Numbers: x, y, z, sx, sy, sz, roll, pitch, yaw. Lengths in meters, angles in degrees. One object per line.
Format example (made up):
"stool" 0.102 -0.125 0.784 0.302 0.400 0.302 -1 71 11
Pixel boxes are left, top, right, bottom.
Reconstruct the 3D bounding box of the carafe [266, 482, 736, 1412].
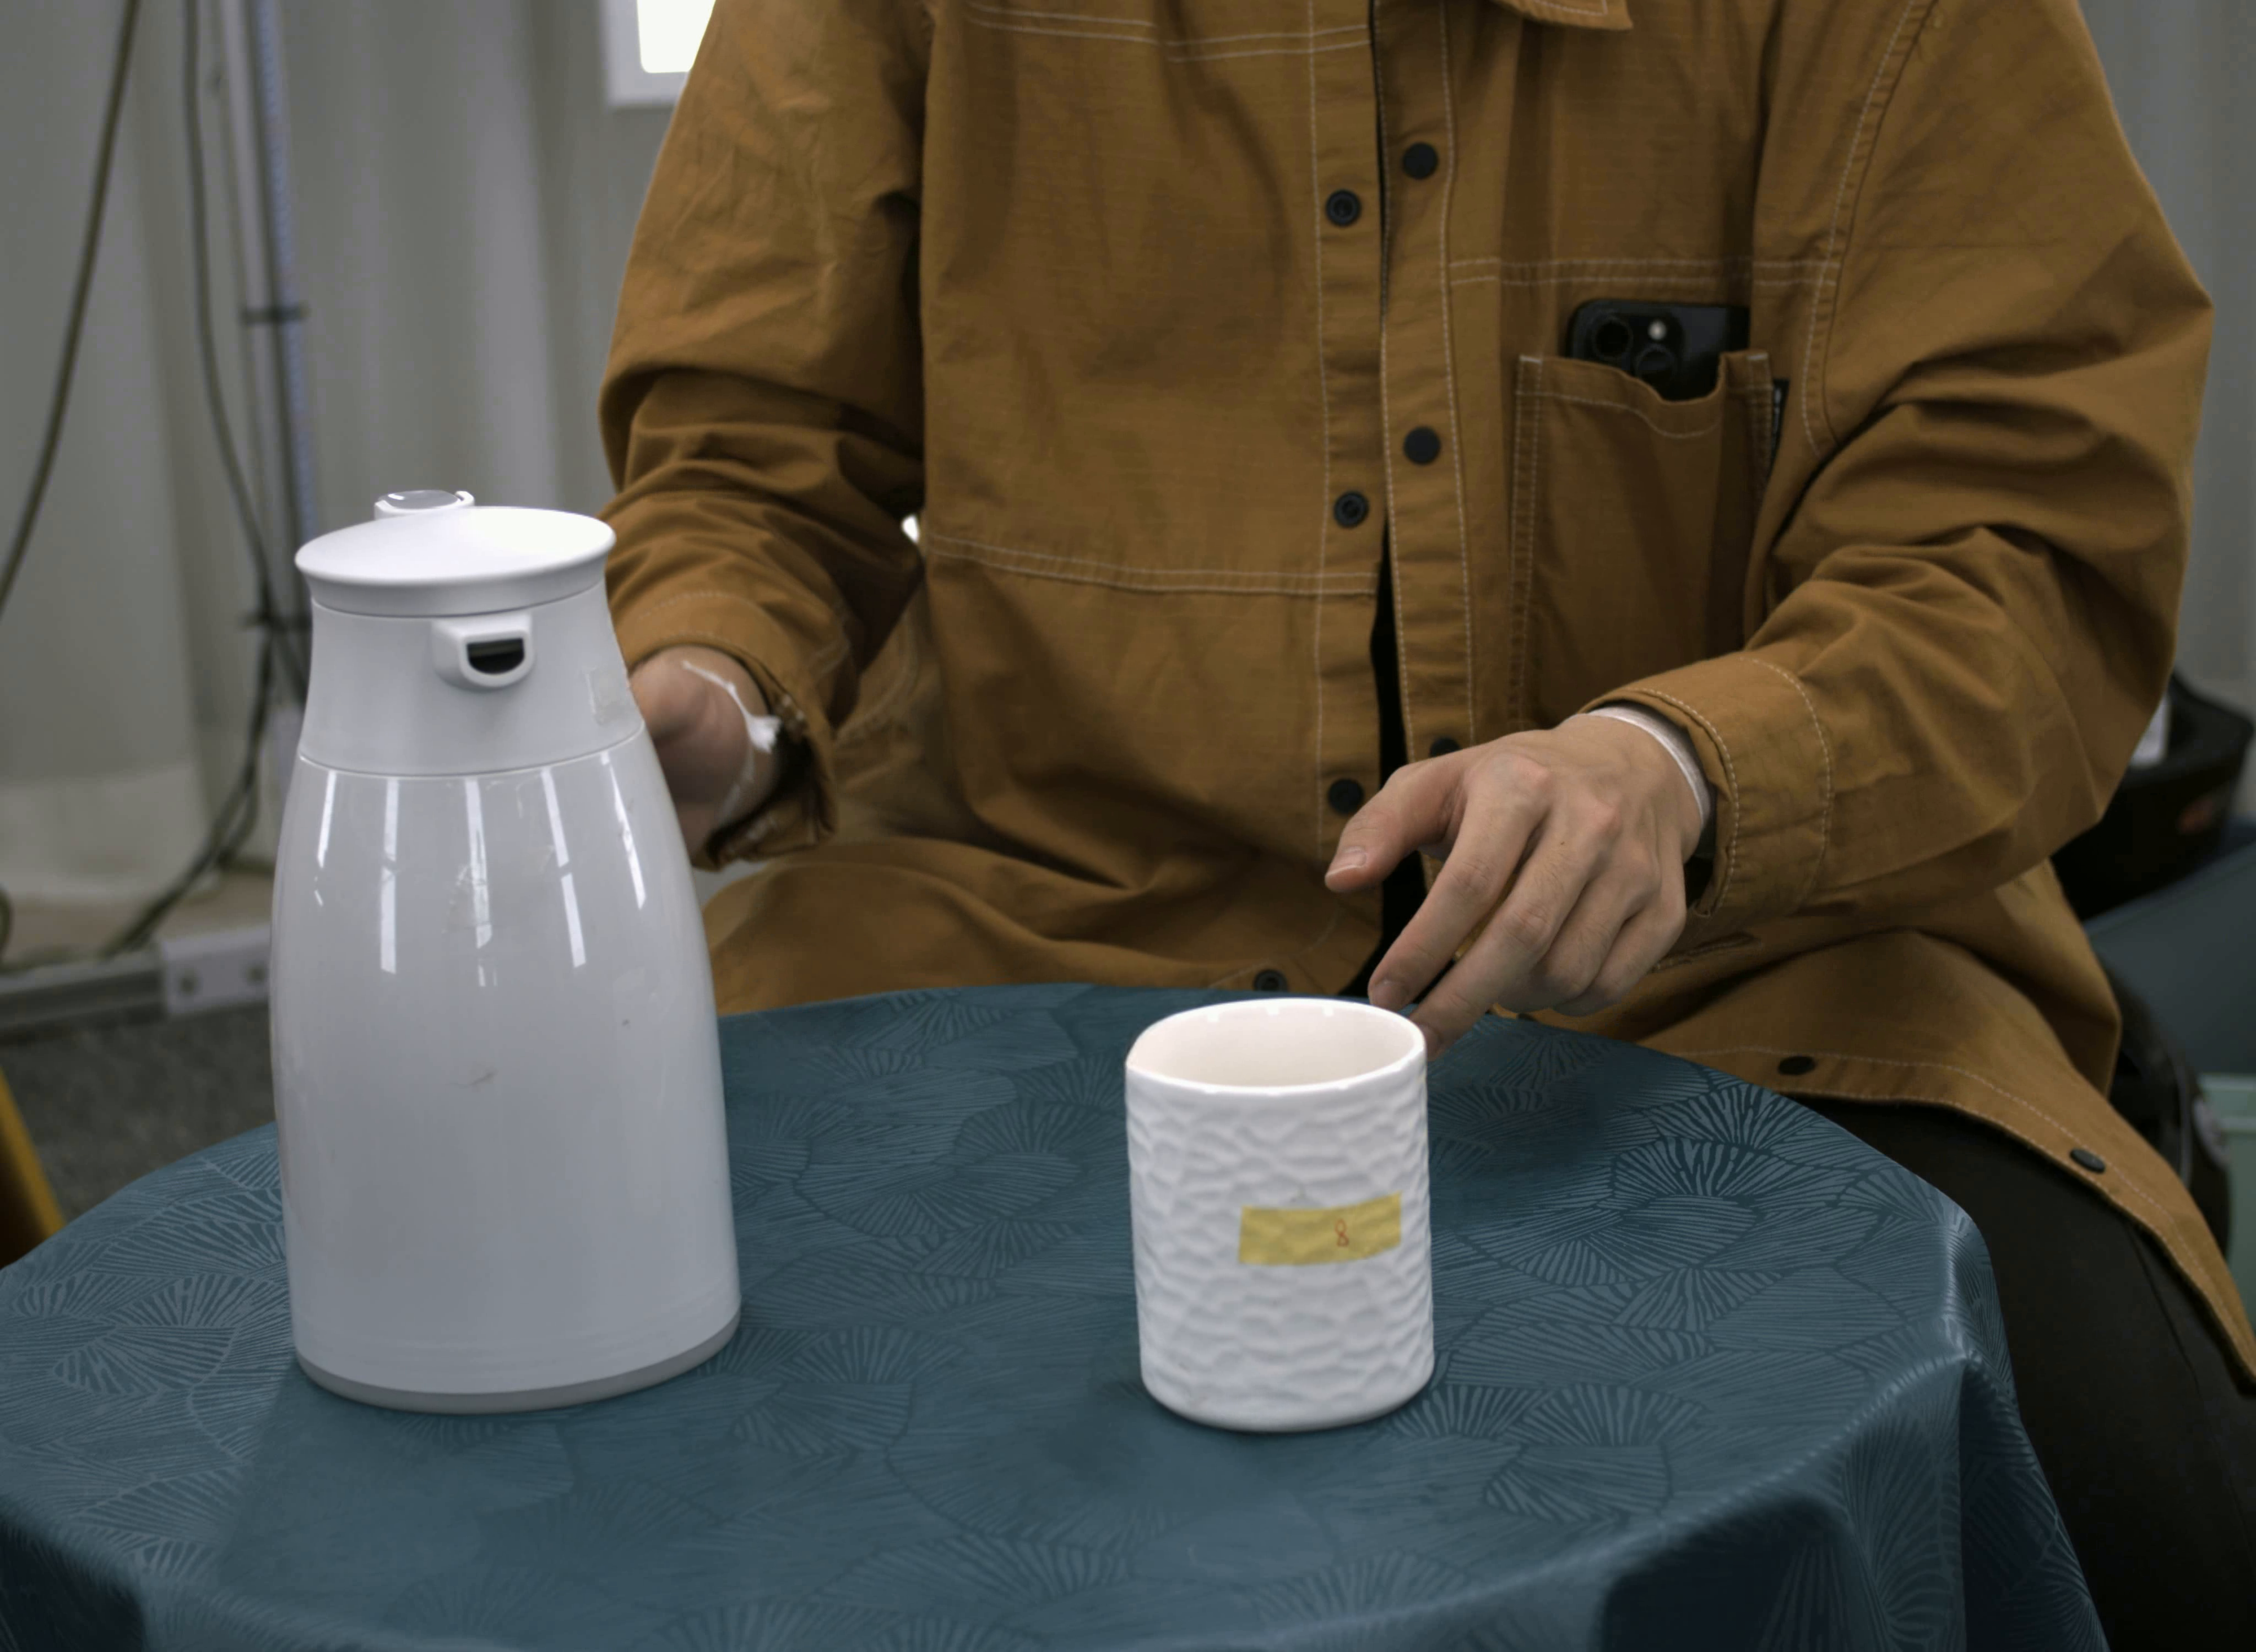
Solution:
"carafe" -0.193 0.027 1.603 0.132 0.248 0.169 -7 14 -16

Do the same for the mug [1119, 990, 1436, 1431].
"mug" 0.044 0.103 1.544 0.085 0.101 0.119 -2 16 5
